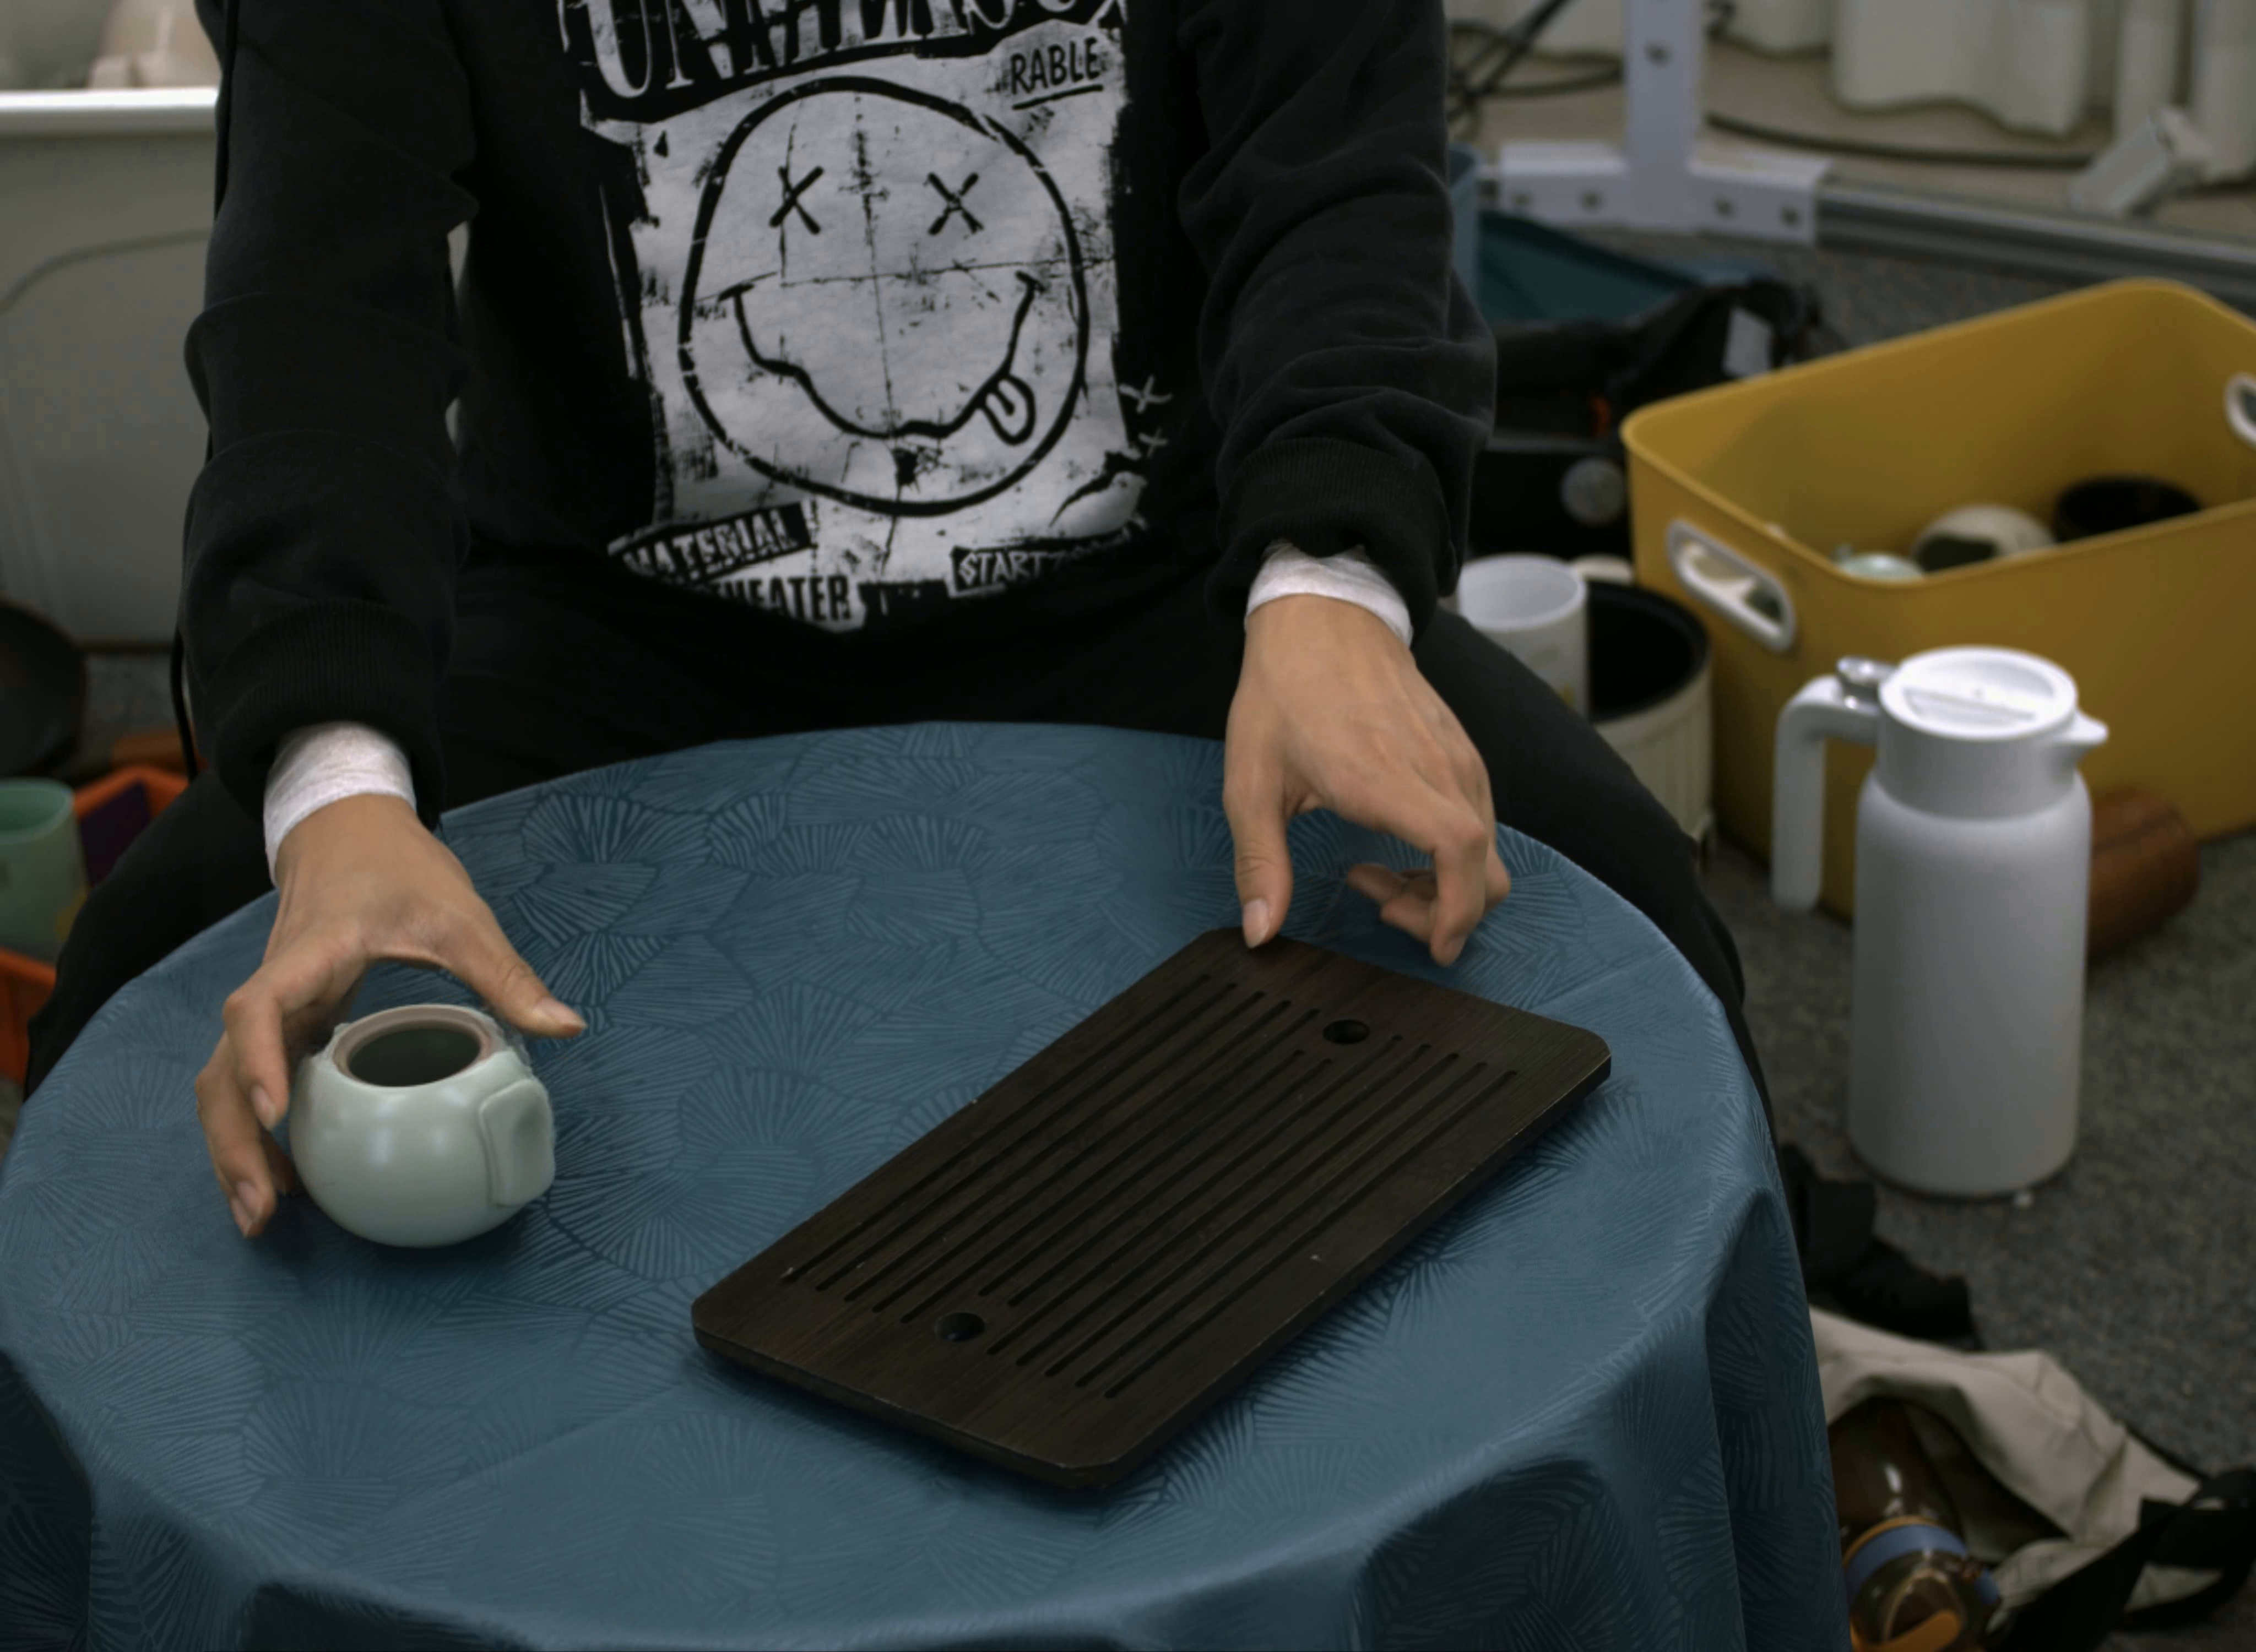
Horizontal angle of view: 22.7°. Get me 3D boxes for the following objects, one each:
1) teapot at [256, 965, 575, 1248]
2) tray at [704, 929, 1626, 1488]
[{"bbox_3d":[-0.233,0.098,1.849,0.143,0.074,0.089,21,35,36],"label":"teapot"},{"bbox_3d":[0.017,0.122,1.837,0.169,0.018,0.310,16,32,33],"label":"tray"}]
